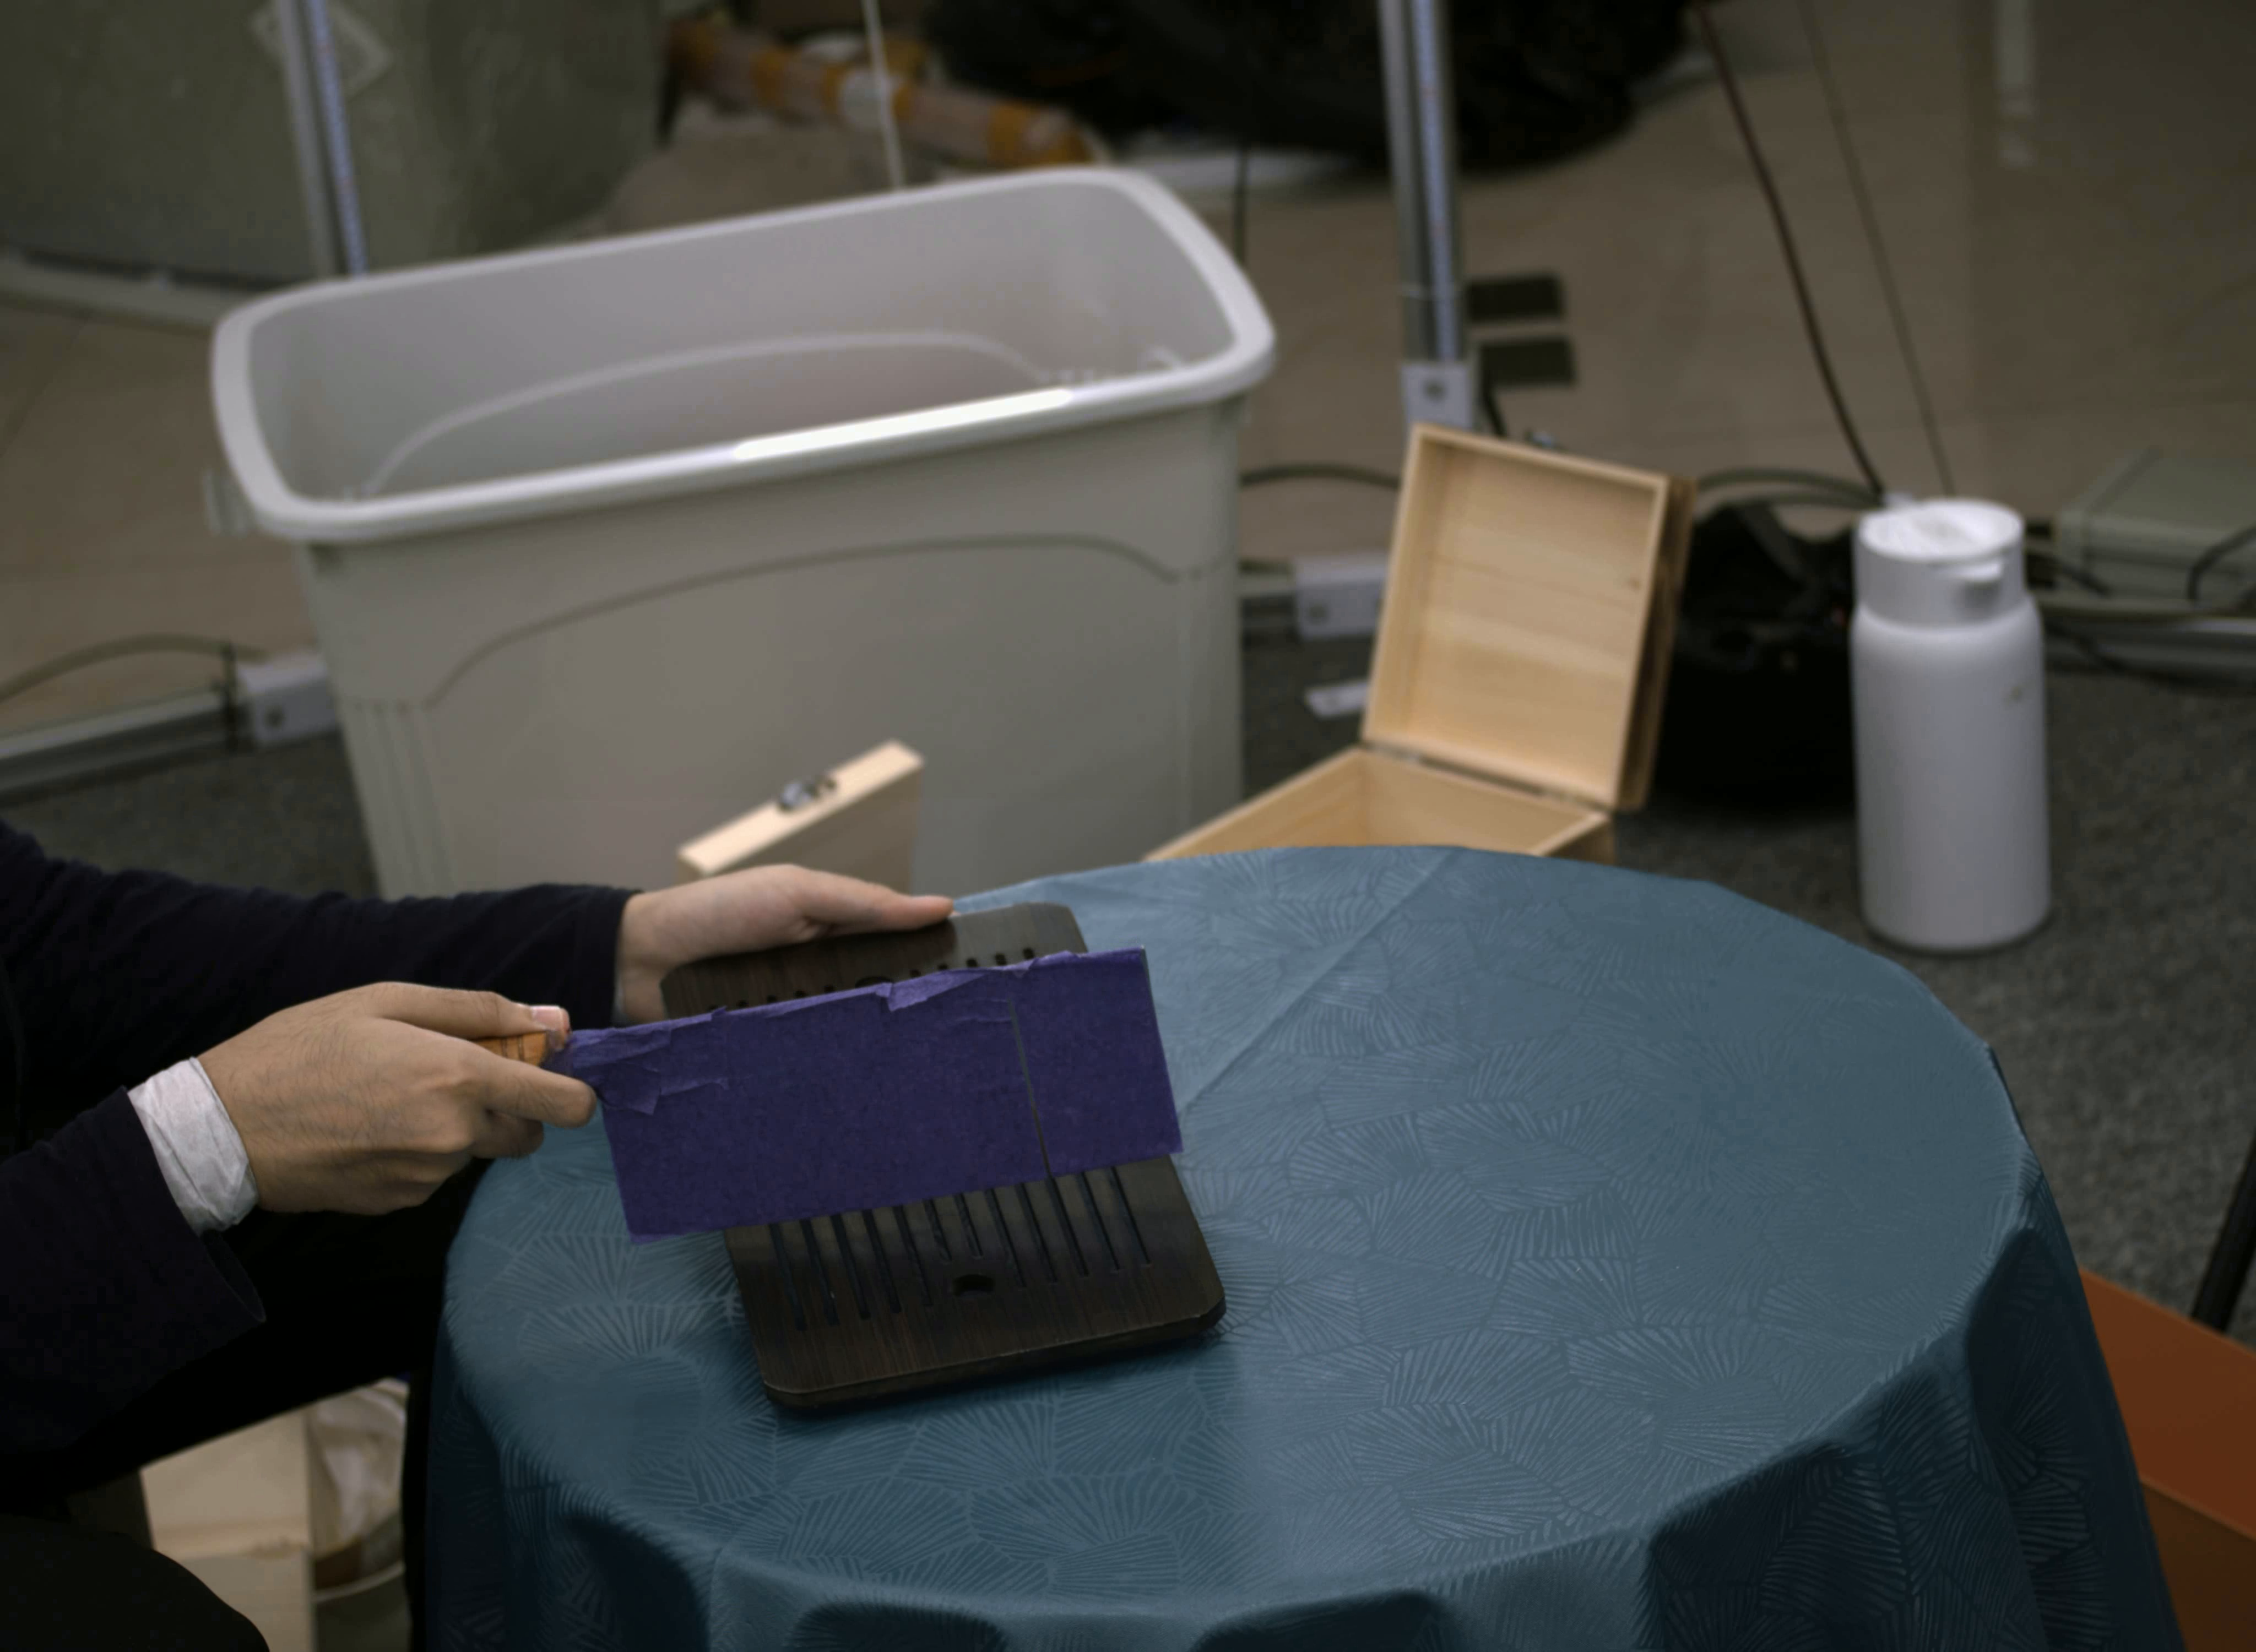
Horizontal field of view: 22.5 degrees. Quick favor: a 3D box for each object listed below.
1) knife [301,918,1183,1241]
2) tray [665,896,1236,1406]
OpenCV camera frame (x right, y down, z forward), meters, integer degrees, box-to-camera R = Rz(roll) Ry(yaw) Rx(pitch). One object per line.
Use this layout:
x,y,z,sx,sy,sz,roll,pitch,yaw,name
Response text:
-0.139,0.106,2.066,0.315,0.105,0.032,-9,27,3,knife
-0.072,0.120,2.152,0.170,0.019,0.301,-10,31,-8,tray
